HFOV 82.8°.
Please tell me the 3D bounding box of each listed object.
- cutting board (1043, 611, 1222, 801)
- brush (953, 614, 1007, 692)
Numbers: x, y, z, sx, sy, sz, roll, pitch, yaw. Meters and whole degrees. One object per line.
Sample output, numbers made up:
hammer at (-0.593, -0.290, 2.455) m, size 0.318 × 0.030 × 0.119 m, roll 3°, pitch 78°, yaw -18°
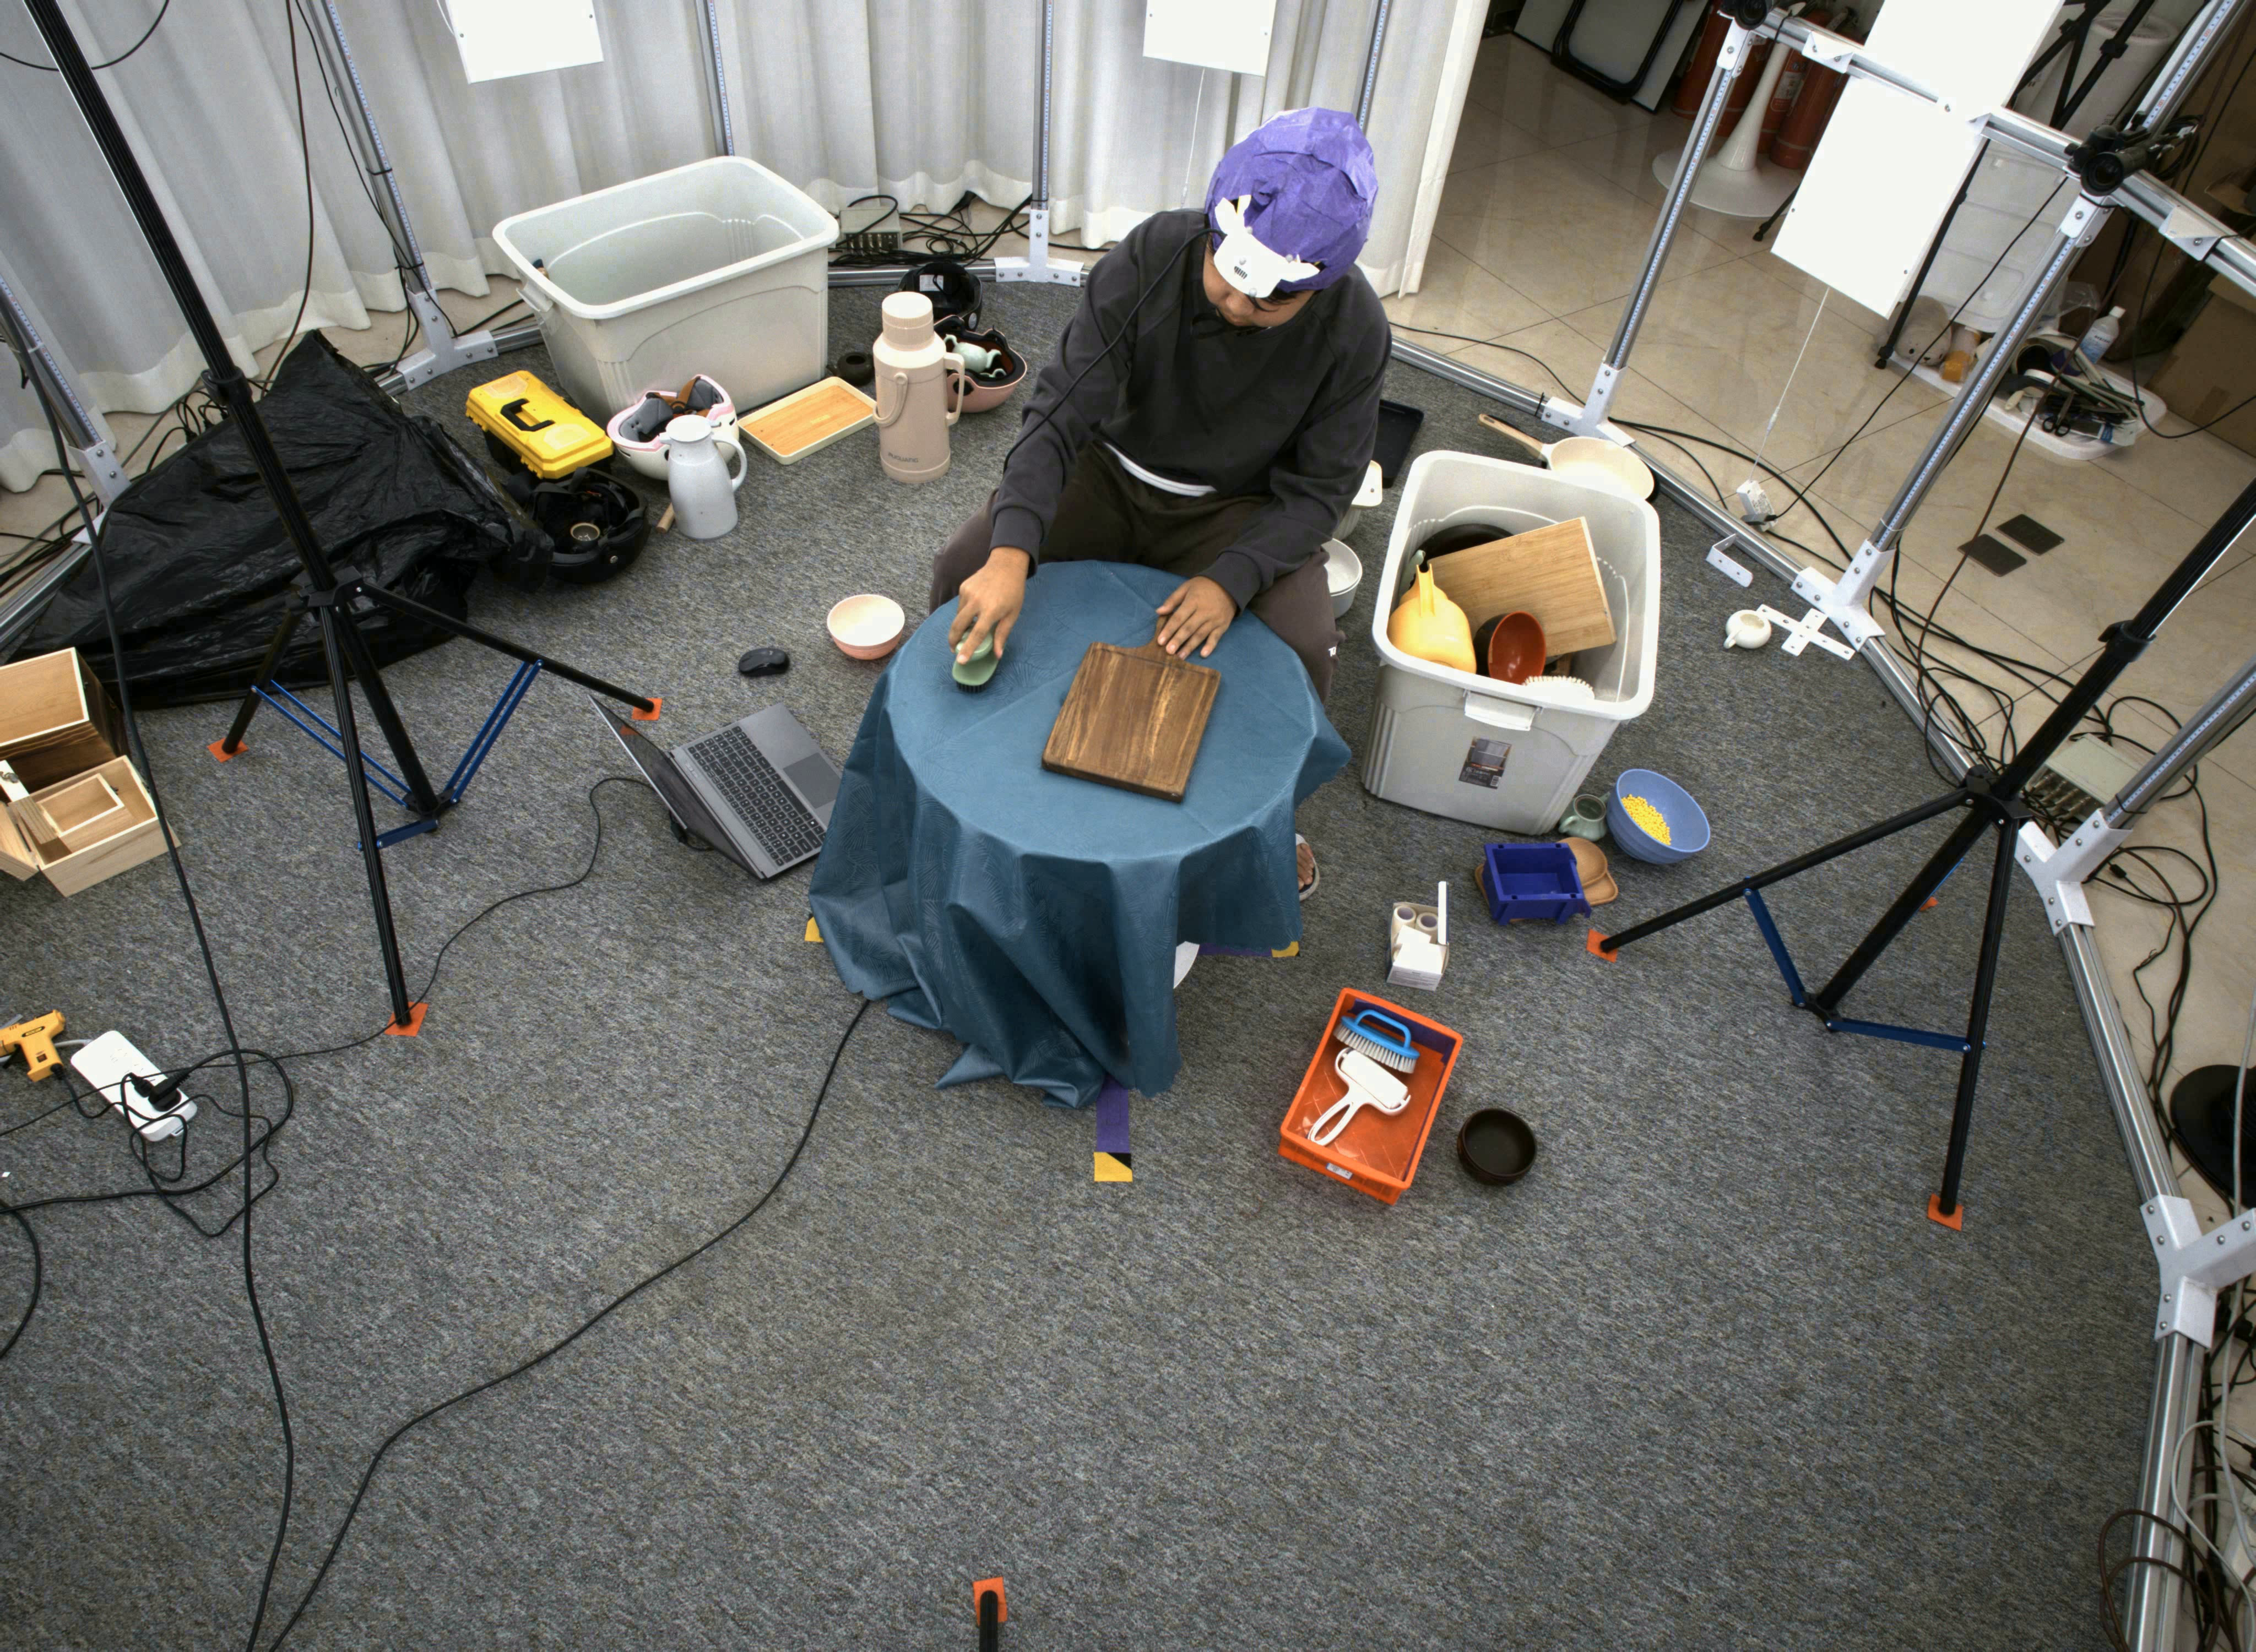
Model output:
cutting board at (0.024, -0.187, 1.816) m, size 0.201 × 0.022 × 0.360 m, roll 14°, pitch 49°, yaw 7°
brush at (-0.210, -0.247, 1.825) m, size 0.060 × 0.074 × 0.125 m, roll 12°, pitch 38°, yaw 7°
